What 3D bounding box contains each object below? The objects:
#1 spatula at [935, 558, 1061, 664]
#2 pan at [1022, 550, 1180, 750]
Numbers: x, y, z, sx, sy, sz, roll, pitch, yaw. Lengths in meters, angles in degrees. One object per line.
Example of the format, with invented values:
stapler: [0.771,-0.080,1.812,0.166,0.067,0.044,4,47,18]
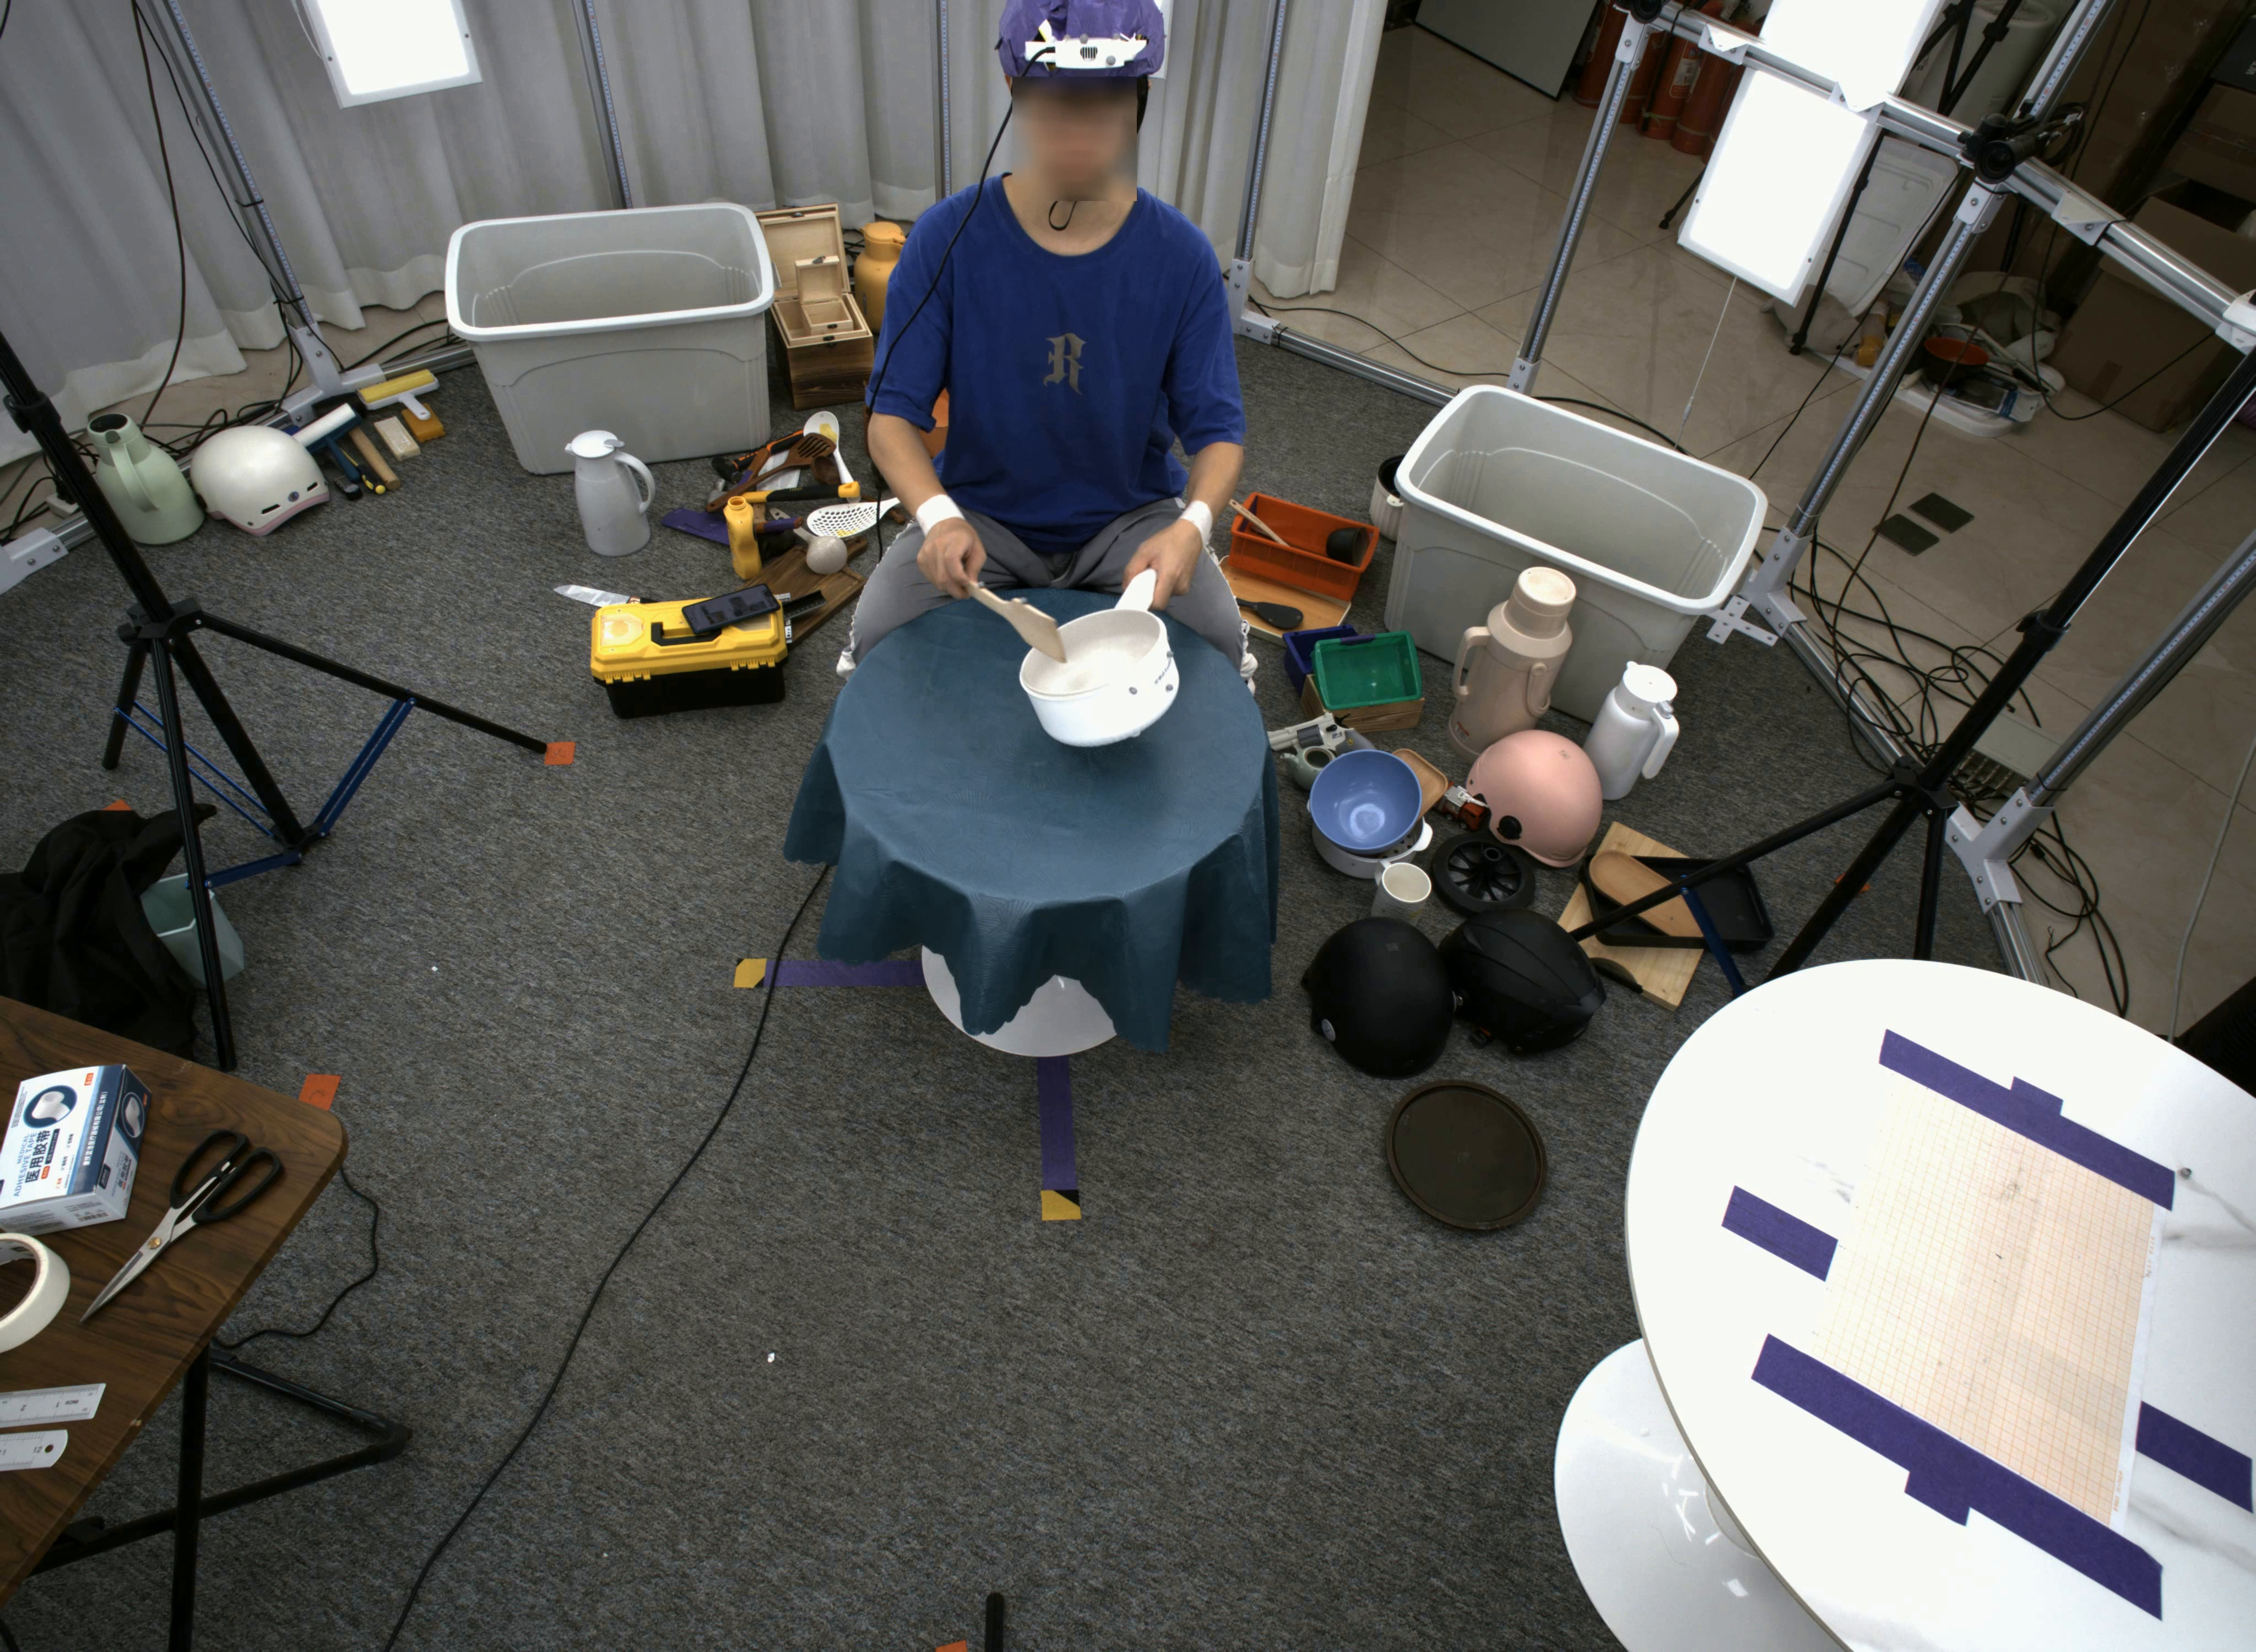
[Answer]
spatula: [-0.179,-0.294,1.686,0.011,0.070,0.298,-36,45,-16]
pan: [-0.003,-0.241,1.749,0.202,0.100,0.362,-2,41,30]
